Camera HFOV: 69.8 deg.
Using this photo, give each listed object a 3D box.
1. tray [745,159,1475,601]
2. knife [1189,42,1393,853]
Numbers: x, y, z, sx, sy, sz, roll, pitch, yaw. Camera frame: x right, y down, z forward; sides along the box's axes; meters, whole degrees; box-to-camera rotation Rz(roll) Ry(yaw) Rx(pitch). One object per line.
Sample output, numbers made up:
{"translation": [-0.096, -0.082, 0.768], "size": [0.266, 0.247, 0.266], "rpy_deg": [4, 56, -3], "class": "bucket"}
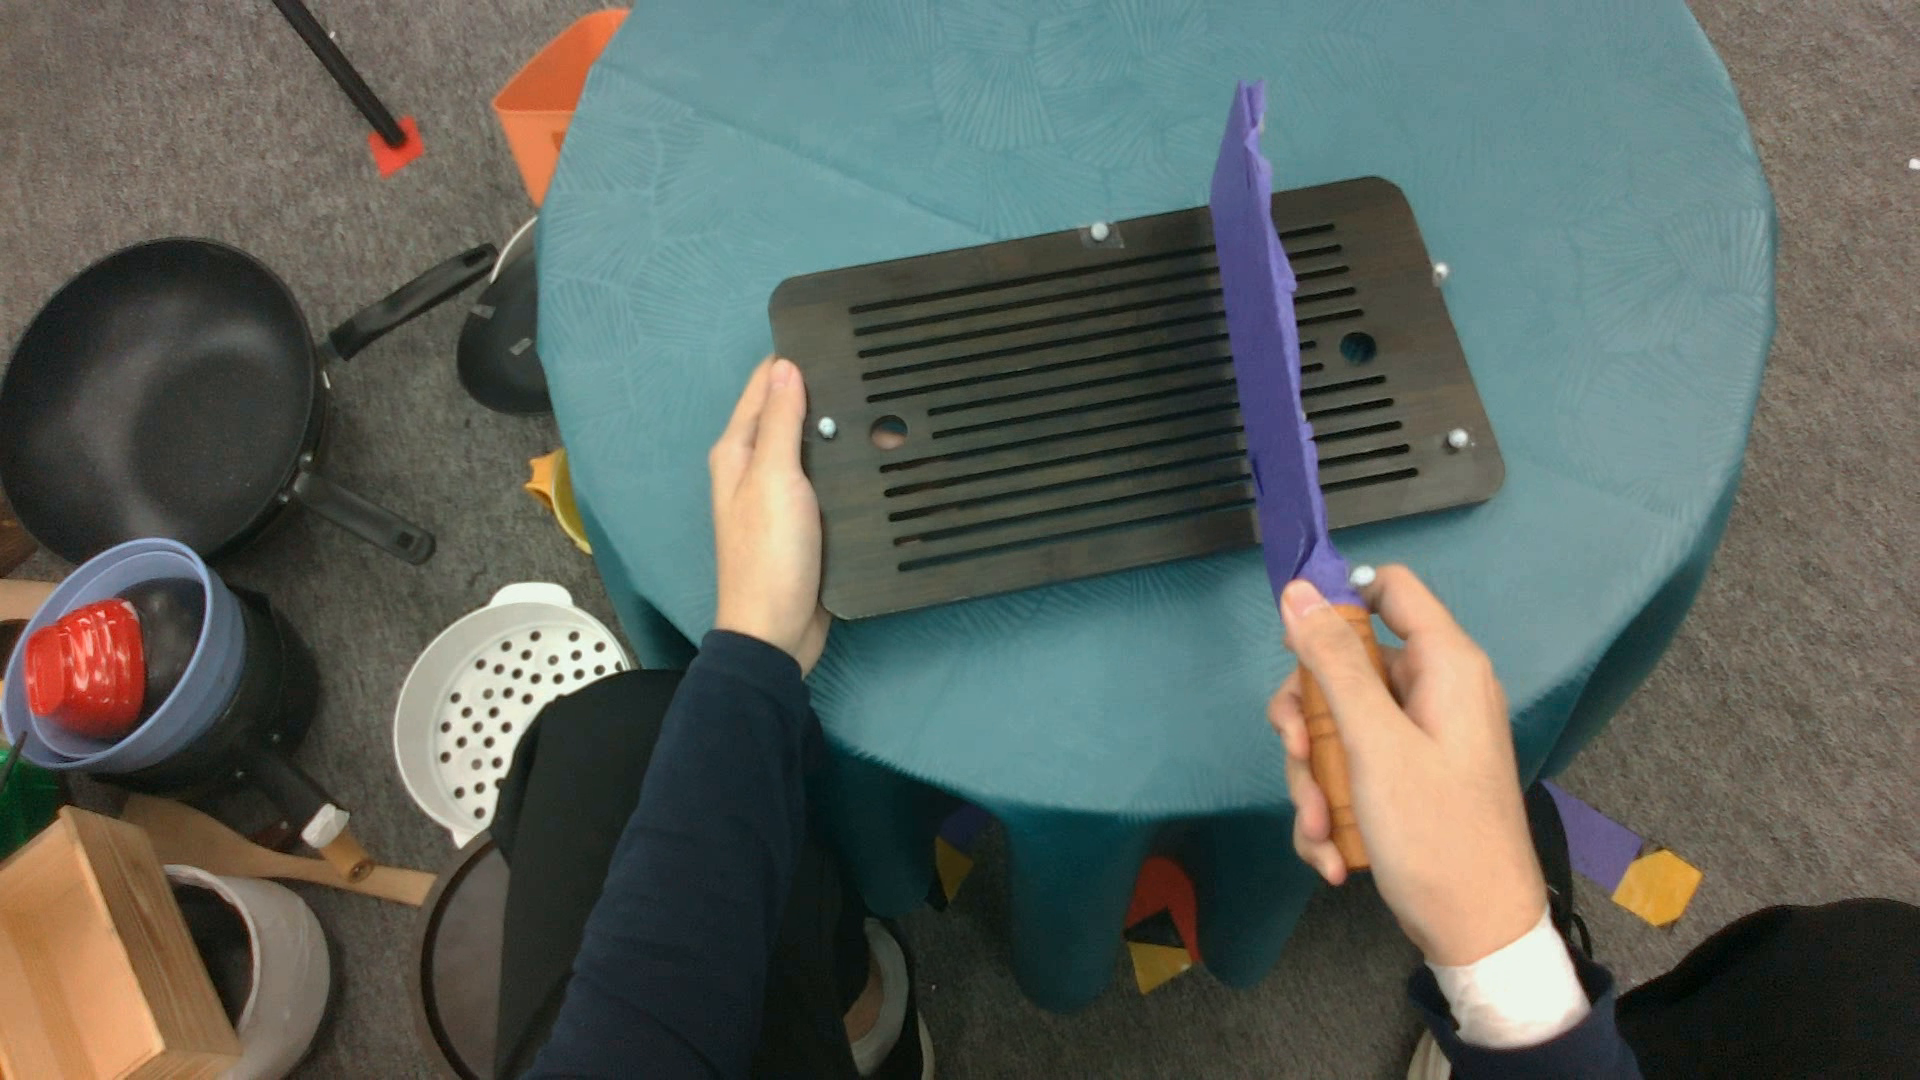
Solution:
{"translation": [0.065, -0.077, 0.625], "size": [0.306, 0.018, 0.170], "rpy_deg": [-11, 70, -6], "class": "tray"}
{"translation": [0.124, -0.036, 0.546], "size": [0.032, 0.103, 0.316], "rpy_deg": [-4, 73, 1], "class": "knife"}
